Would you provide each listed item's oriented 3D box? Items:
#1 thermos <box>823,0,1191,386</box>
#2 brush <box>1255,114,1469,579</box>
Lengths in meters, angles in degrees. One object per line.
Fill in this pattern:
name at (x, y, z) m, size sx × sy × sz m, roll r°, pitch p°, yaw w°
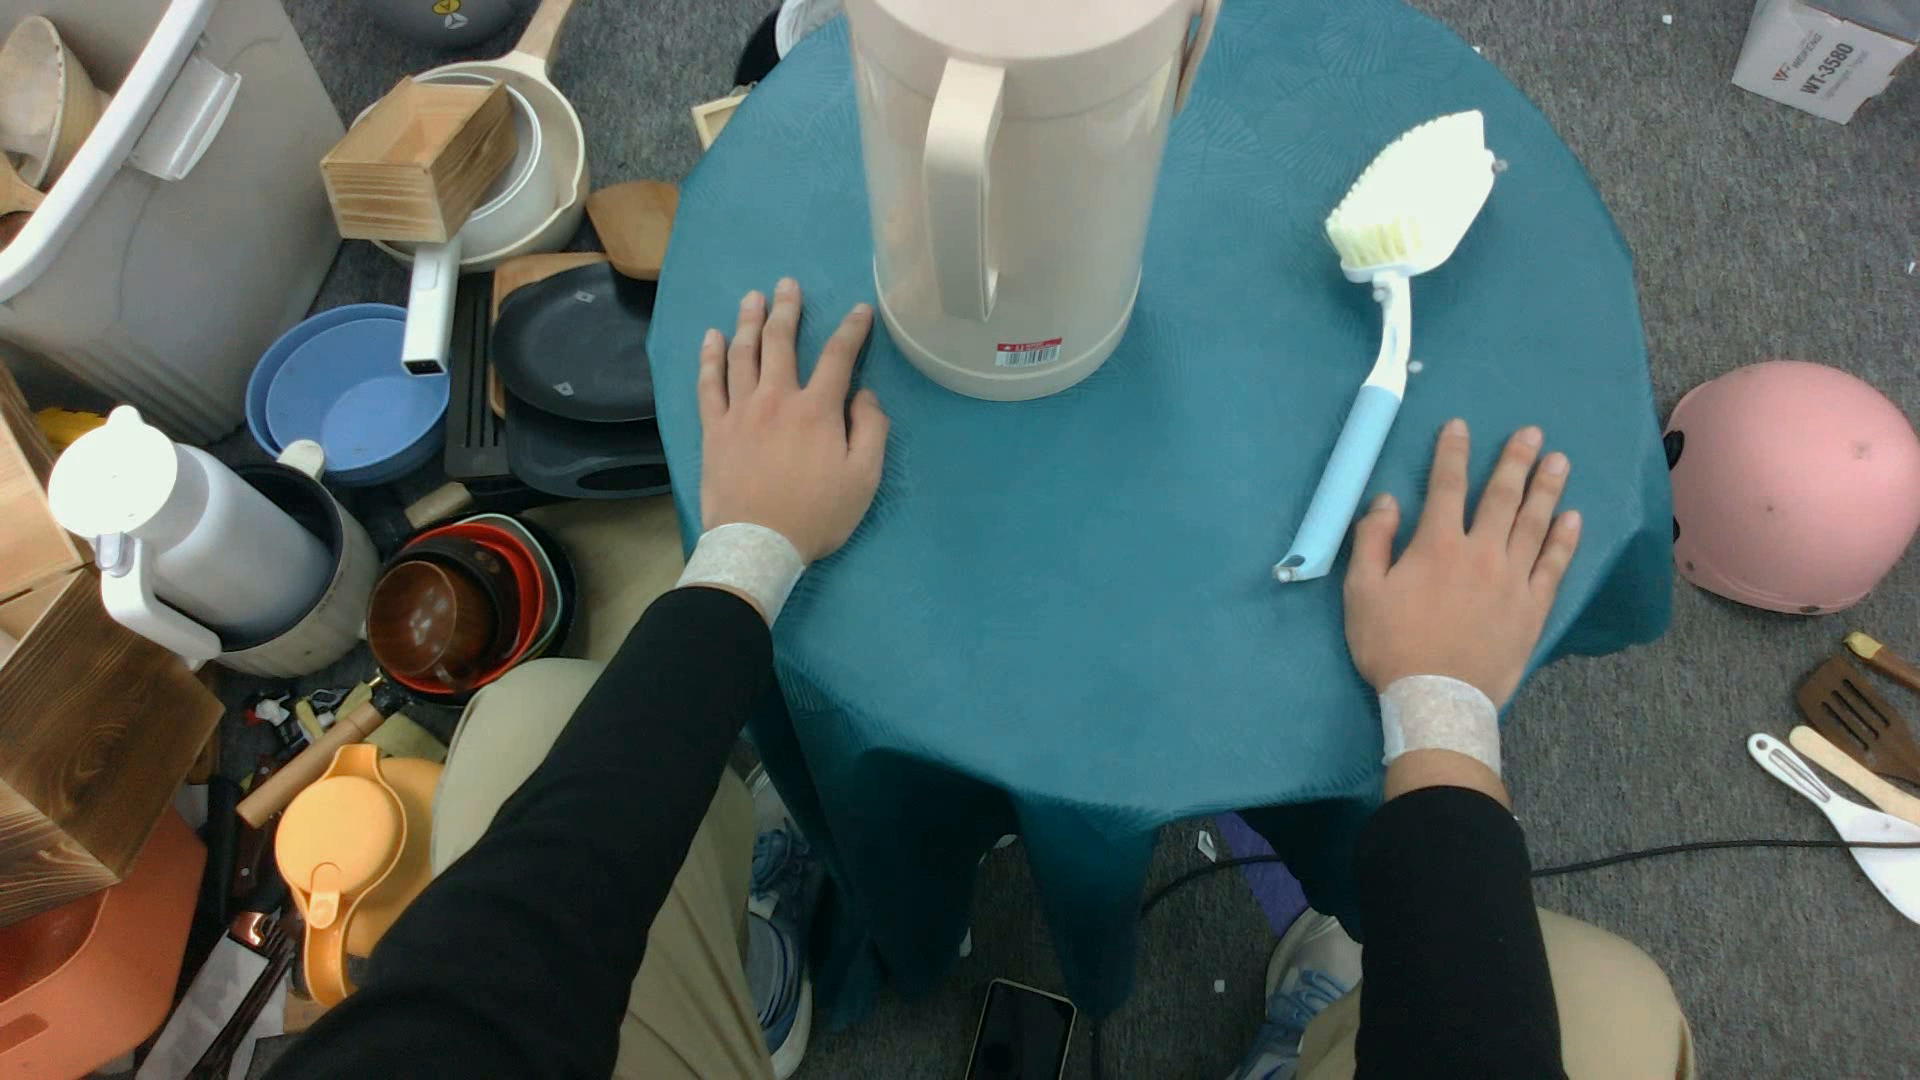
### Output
thermos at (0.010, -0.219, 0.652) m, size 0.175 × 0.405 × 0.208 m, roll 13°, pitch 70°, yaw 3°
brush at (0.221, -0.129, 0.788) m, size 0.084 × 0.083 × 0.326 m, roll 26°, pitch 69°, yaw 3°
